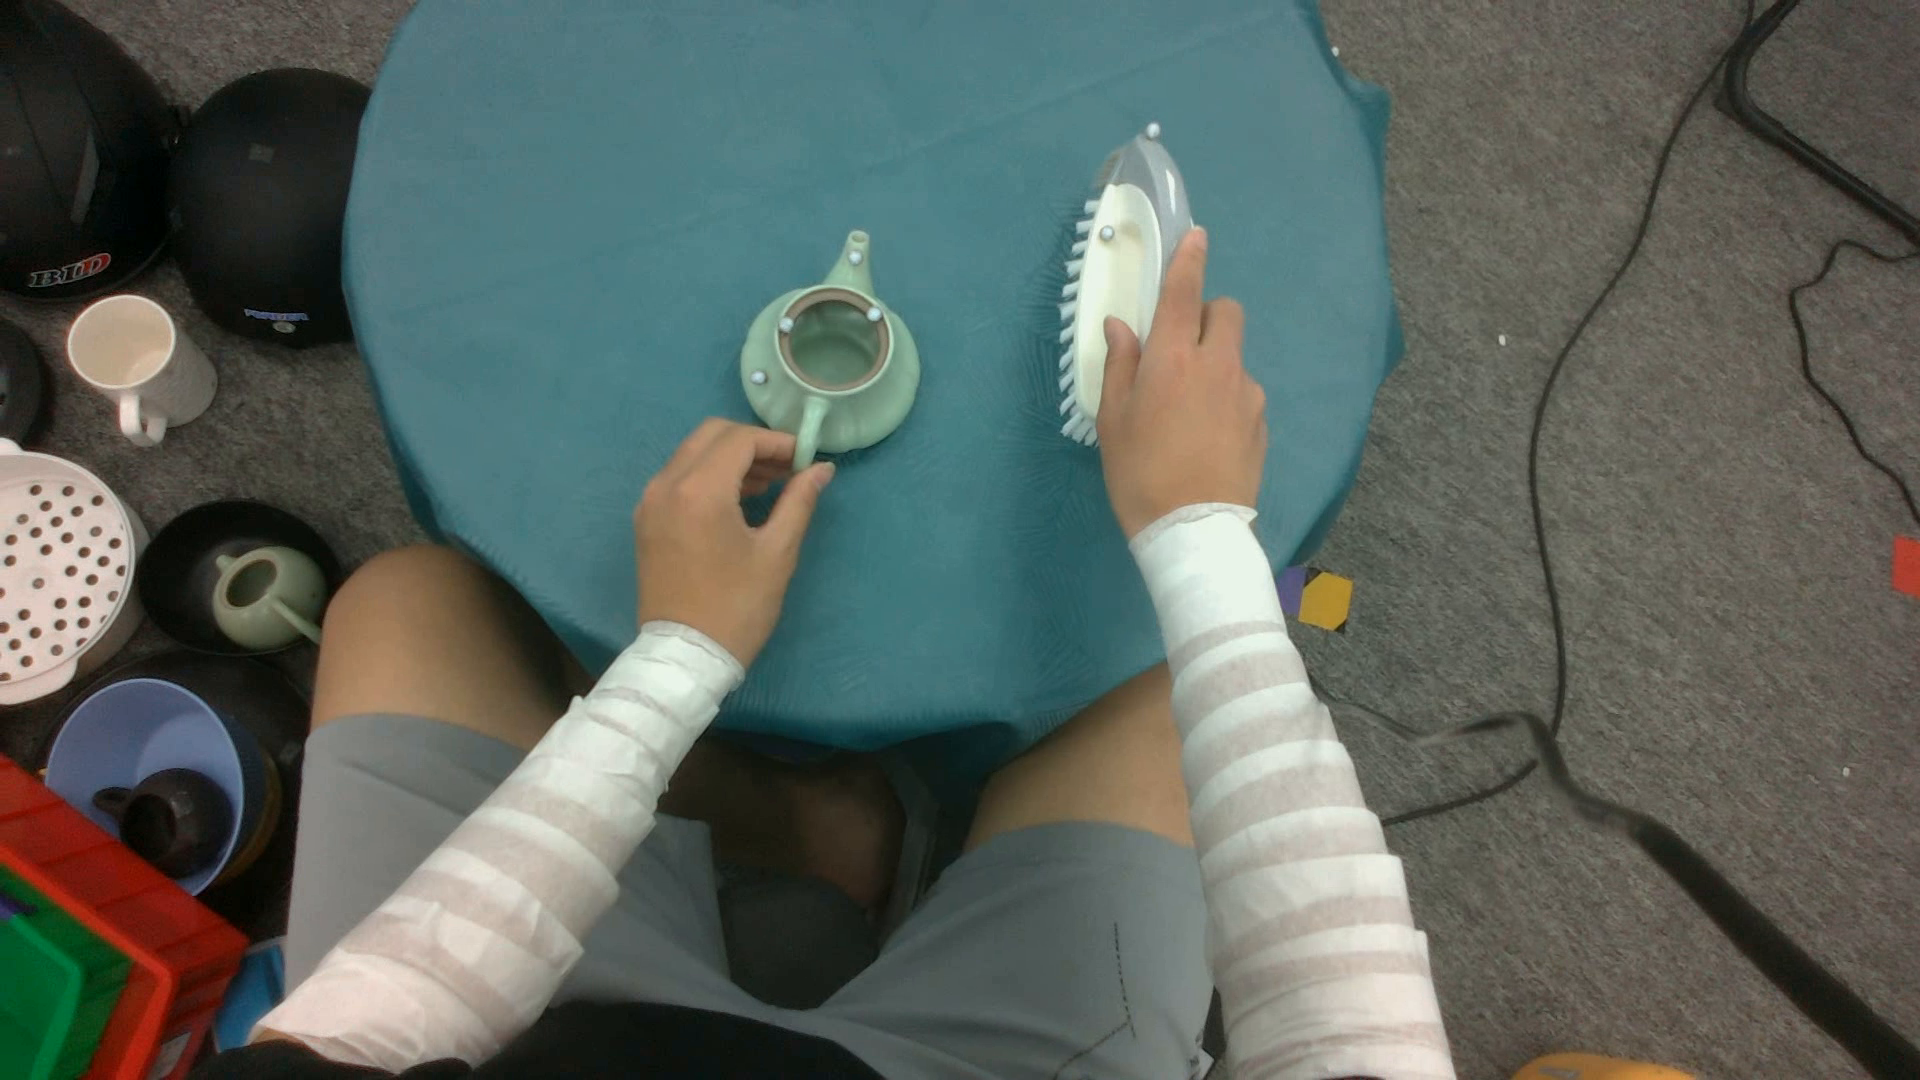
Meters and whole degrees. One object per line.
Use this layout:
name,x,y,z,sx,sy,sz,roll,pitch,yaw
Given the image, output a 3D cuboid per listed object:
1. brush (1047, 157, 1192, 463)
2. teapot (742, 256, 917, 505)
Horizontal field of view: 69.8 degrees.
brush,0.091,-0.138,0.752,0.061,0.094,0.176,8,73,-21
teapot,-0.070,-0.081,0.748,0.096,0.061,0.137,10,72,-6
